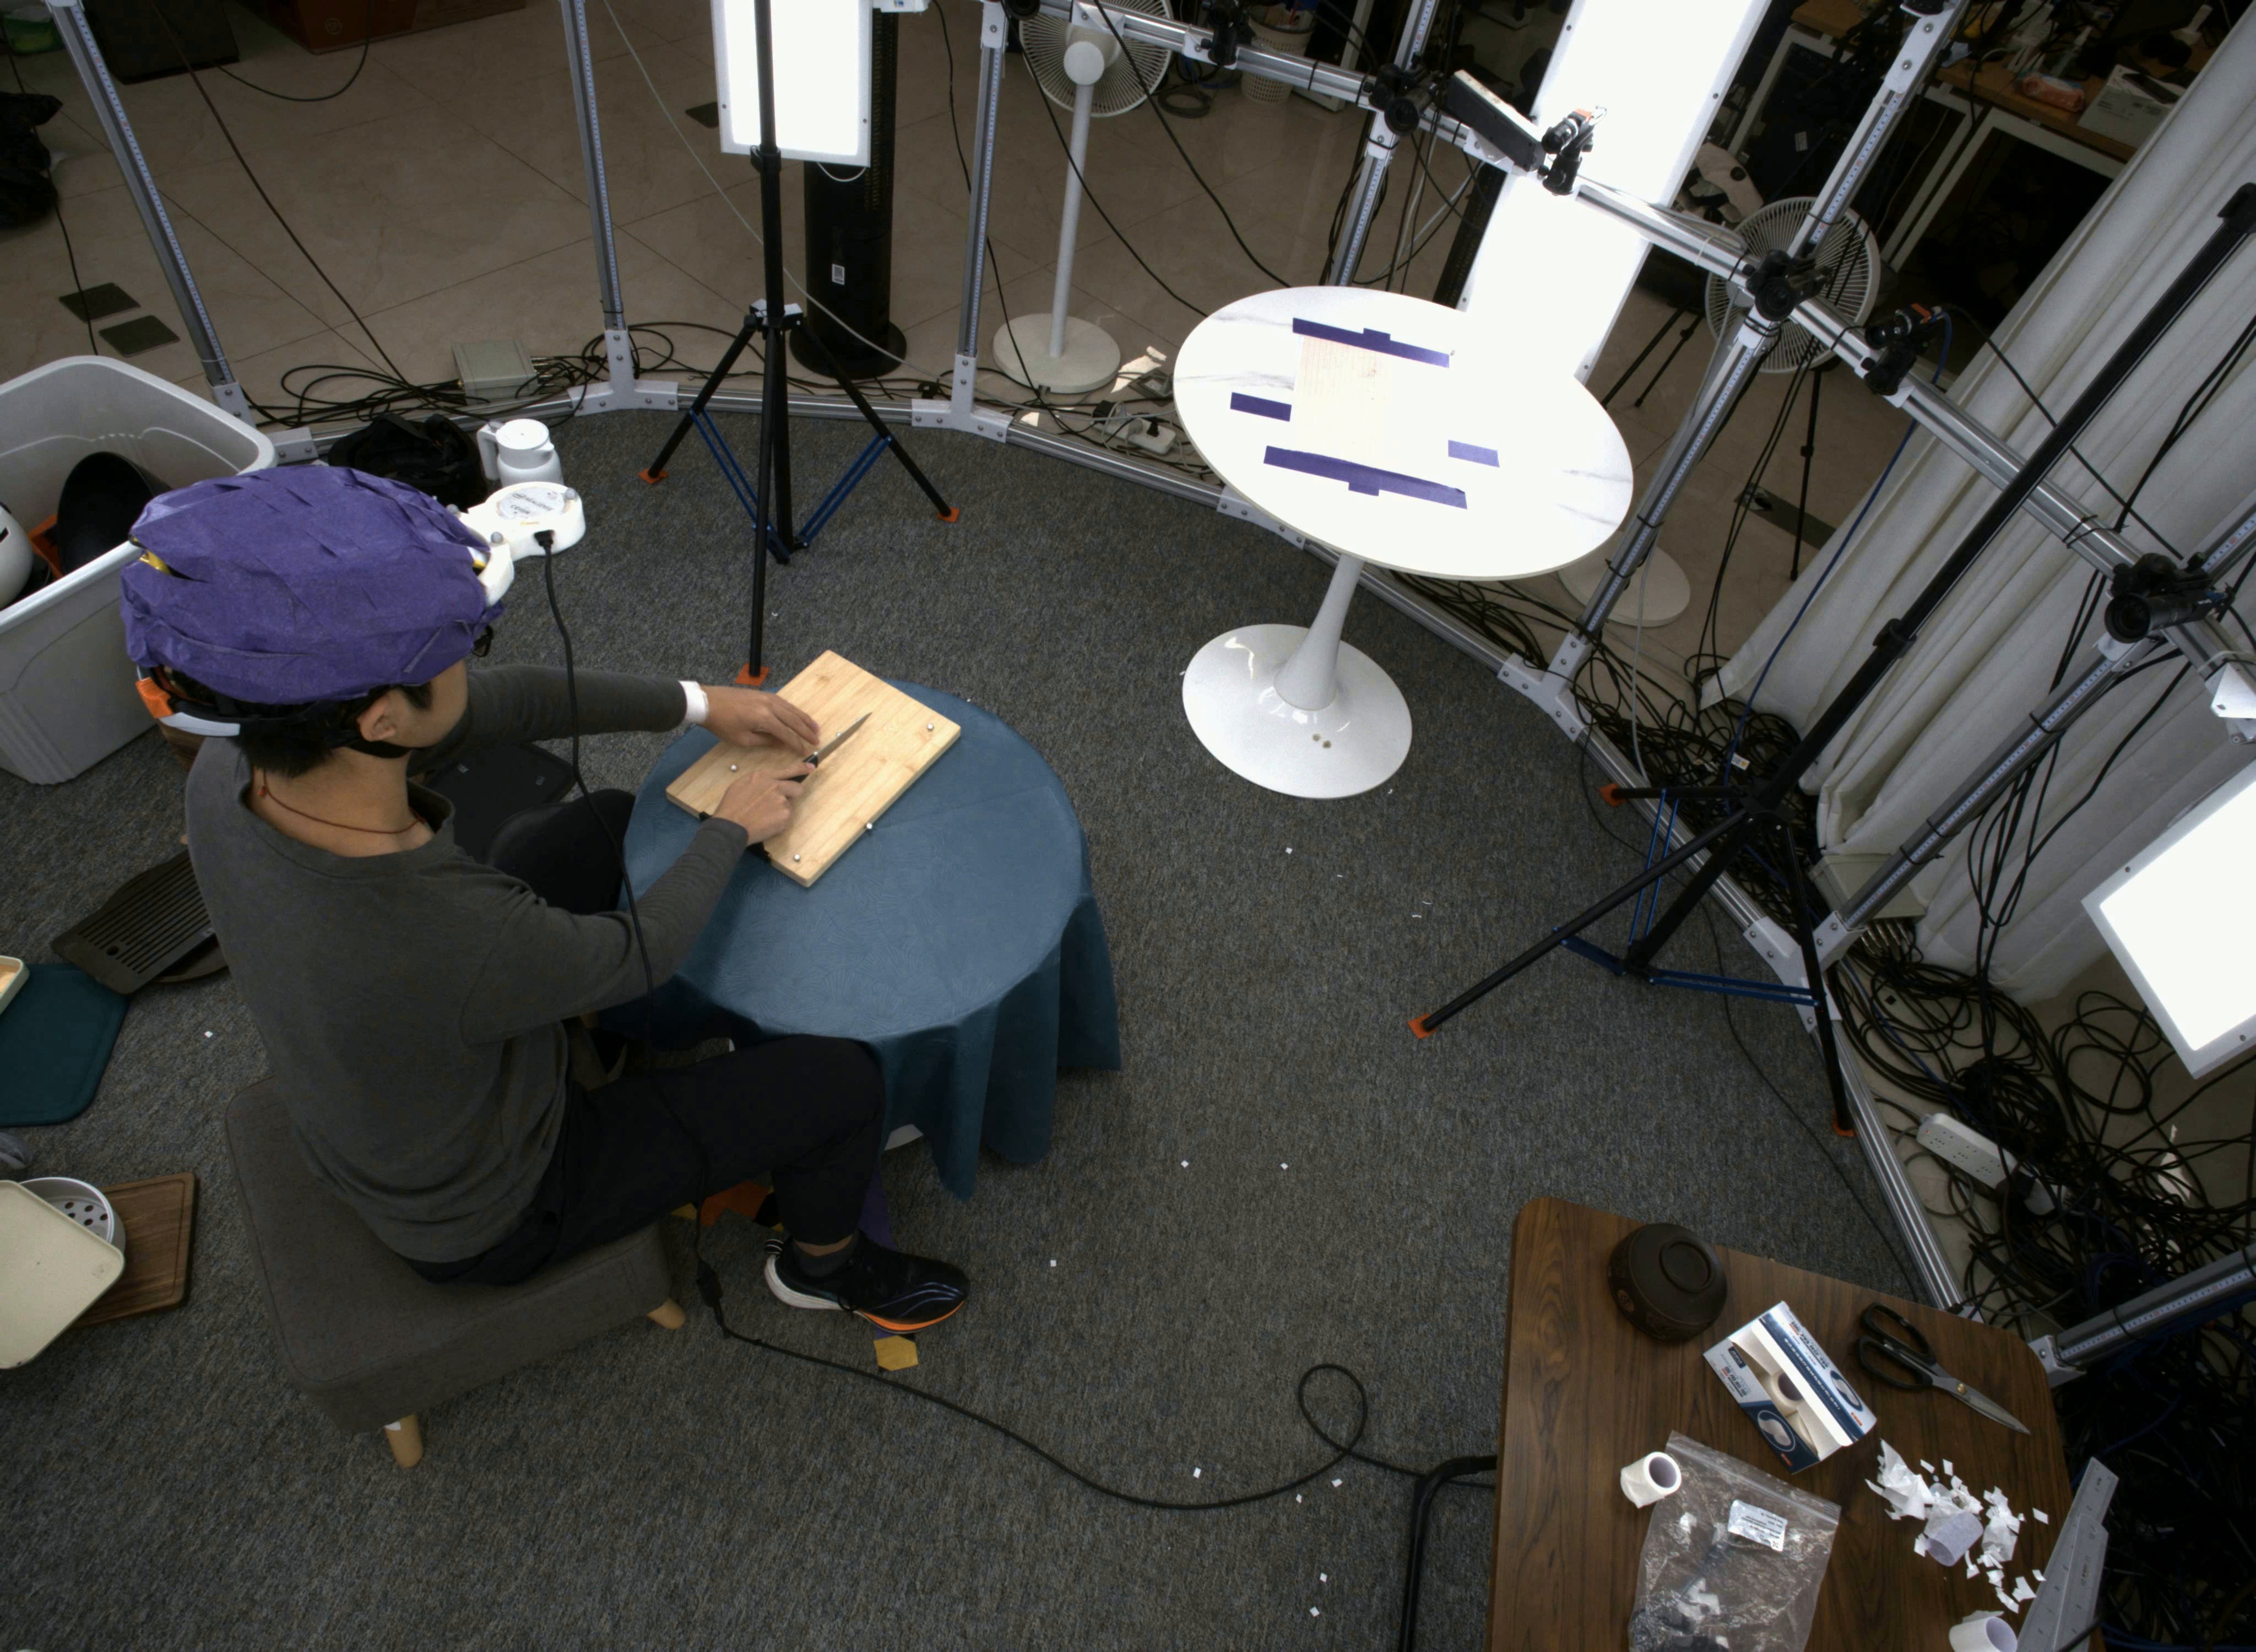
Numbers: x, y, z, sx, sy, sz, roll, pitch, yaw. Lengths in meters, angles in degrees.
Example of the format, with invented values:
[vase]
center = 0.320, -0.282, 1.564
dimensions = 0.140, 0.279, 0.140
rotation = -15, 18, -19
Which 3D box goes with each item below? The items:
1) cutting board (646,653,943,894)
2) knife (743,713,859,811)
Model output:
[cutting board]
center = -0.450, -0.083, 1.781
dimensions = 0.246, 0.024, 0.347
rotation = 29, 52, 9
[knife]
center = -0.435, -0.094, 1.740
dimensions = 0.016, 0.025, 0.237
rotation = 25, 45, 17
